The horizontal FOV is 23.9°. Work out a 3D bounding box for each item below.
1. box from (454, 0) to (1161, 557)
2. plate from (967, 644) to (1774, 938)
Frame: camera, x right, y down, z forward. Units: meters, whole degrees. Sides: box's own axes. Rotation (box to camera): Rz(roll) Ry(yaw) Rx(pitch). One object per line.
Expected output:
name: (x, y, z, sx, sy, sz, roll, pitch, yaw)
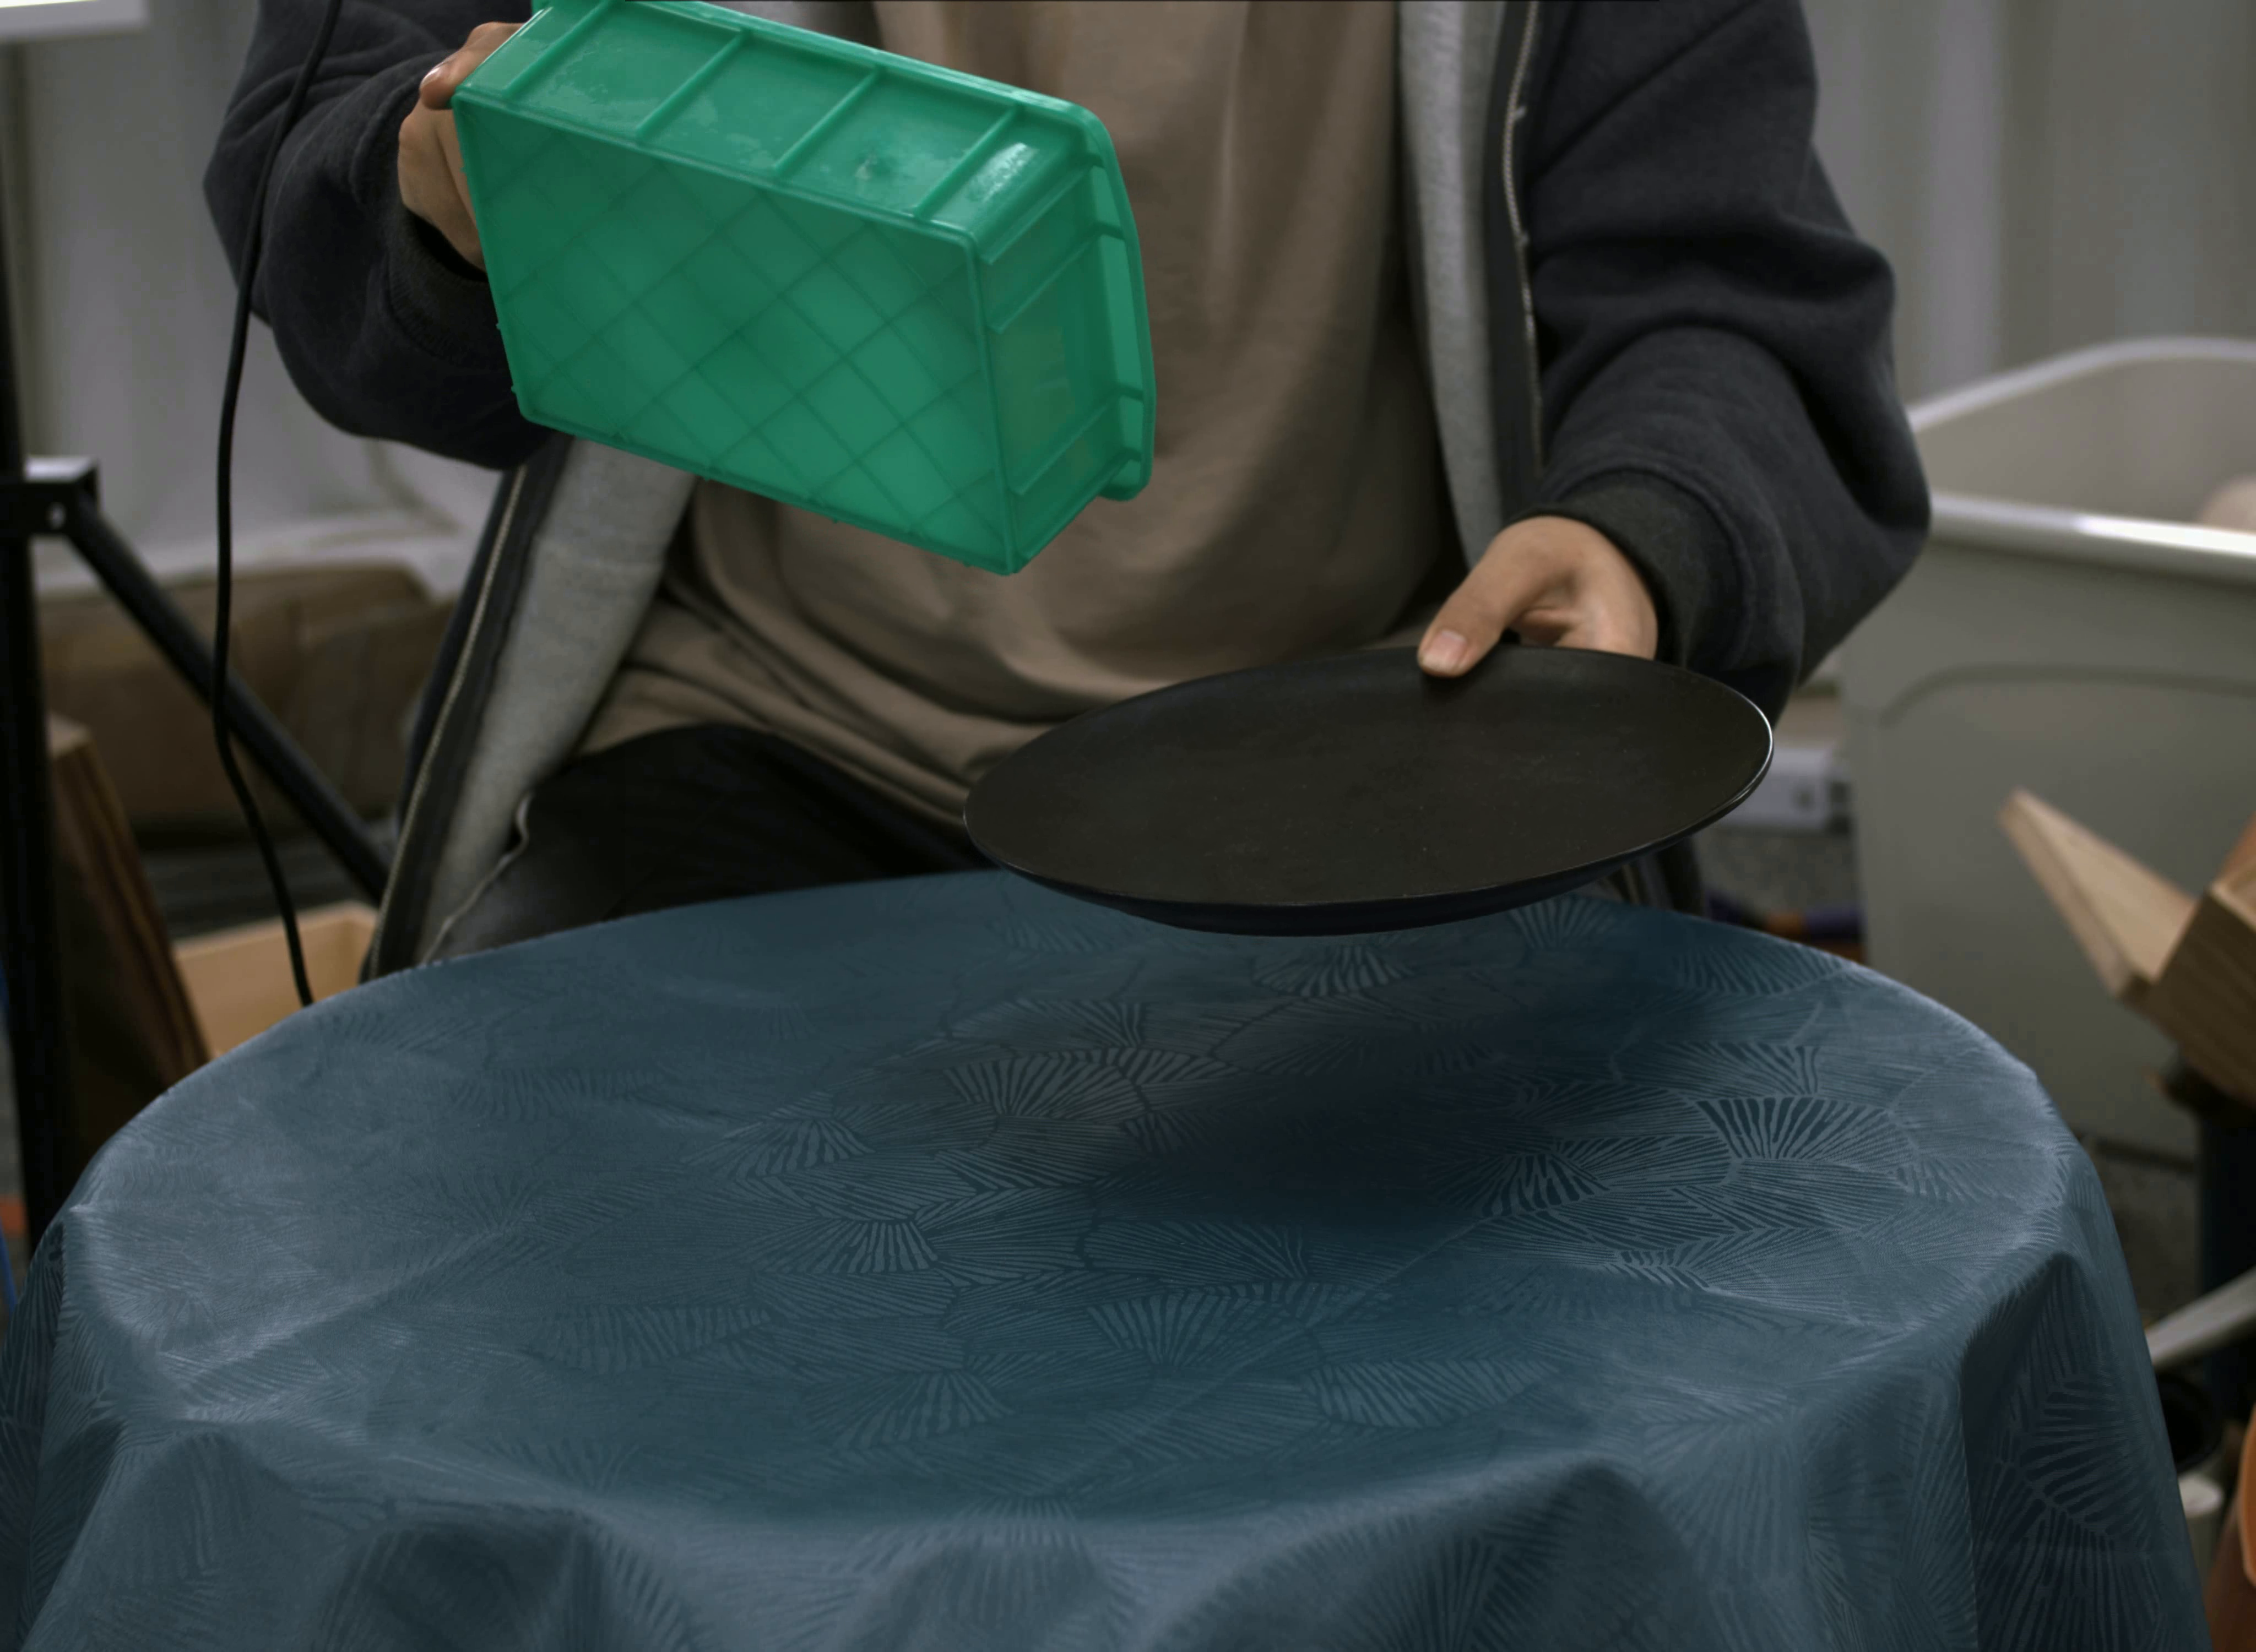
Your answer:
box: (-0.098, -0.162, 1.551, 0.214, 0.137, 0.065, 17, 45, 25)
plate: (0.073, -0.008, 1.595, 0.243, 0.023, 0.246, -8, 18, 1)
